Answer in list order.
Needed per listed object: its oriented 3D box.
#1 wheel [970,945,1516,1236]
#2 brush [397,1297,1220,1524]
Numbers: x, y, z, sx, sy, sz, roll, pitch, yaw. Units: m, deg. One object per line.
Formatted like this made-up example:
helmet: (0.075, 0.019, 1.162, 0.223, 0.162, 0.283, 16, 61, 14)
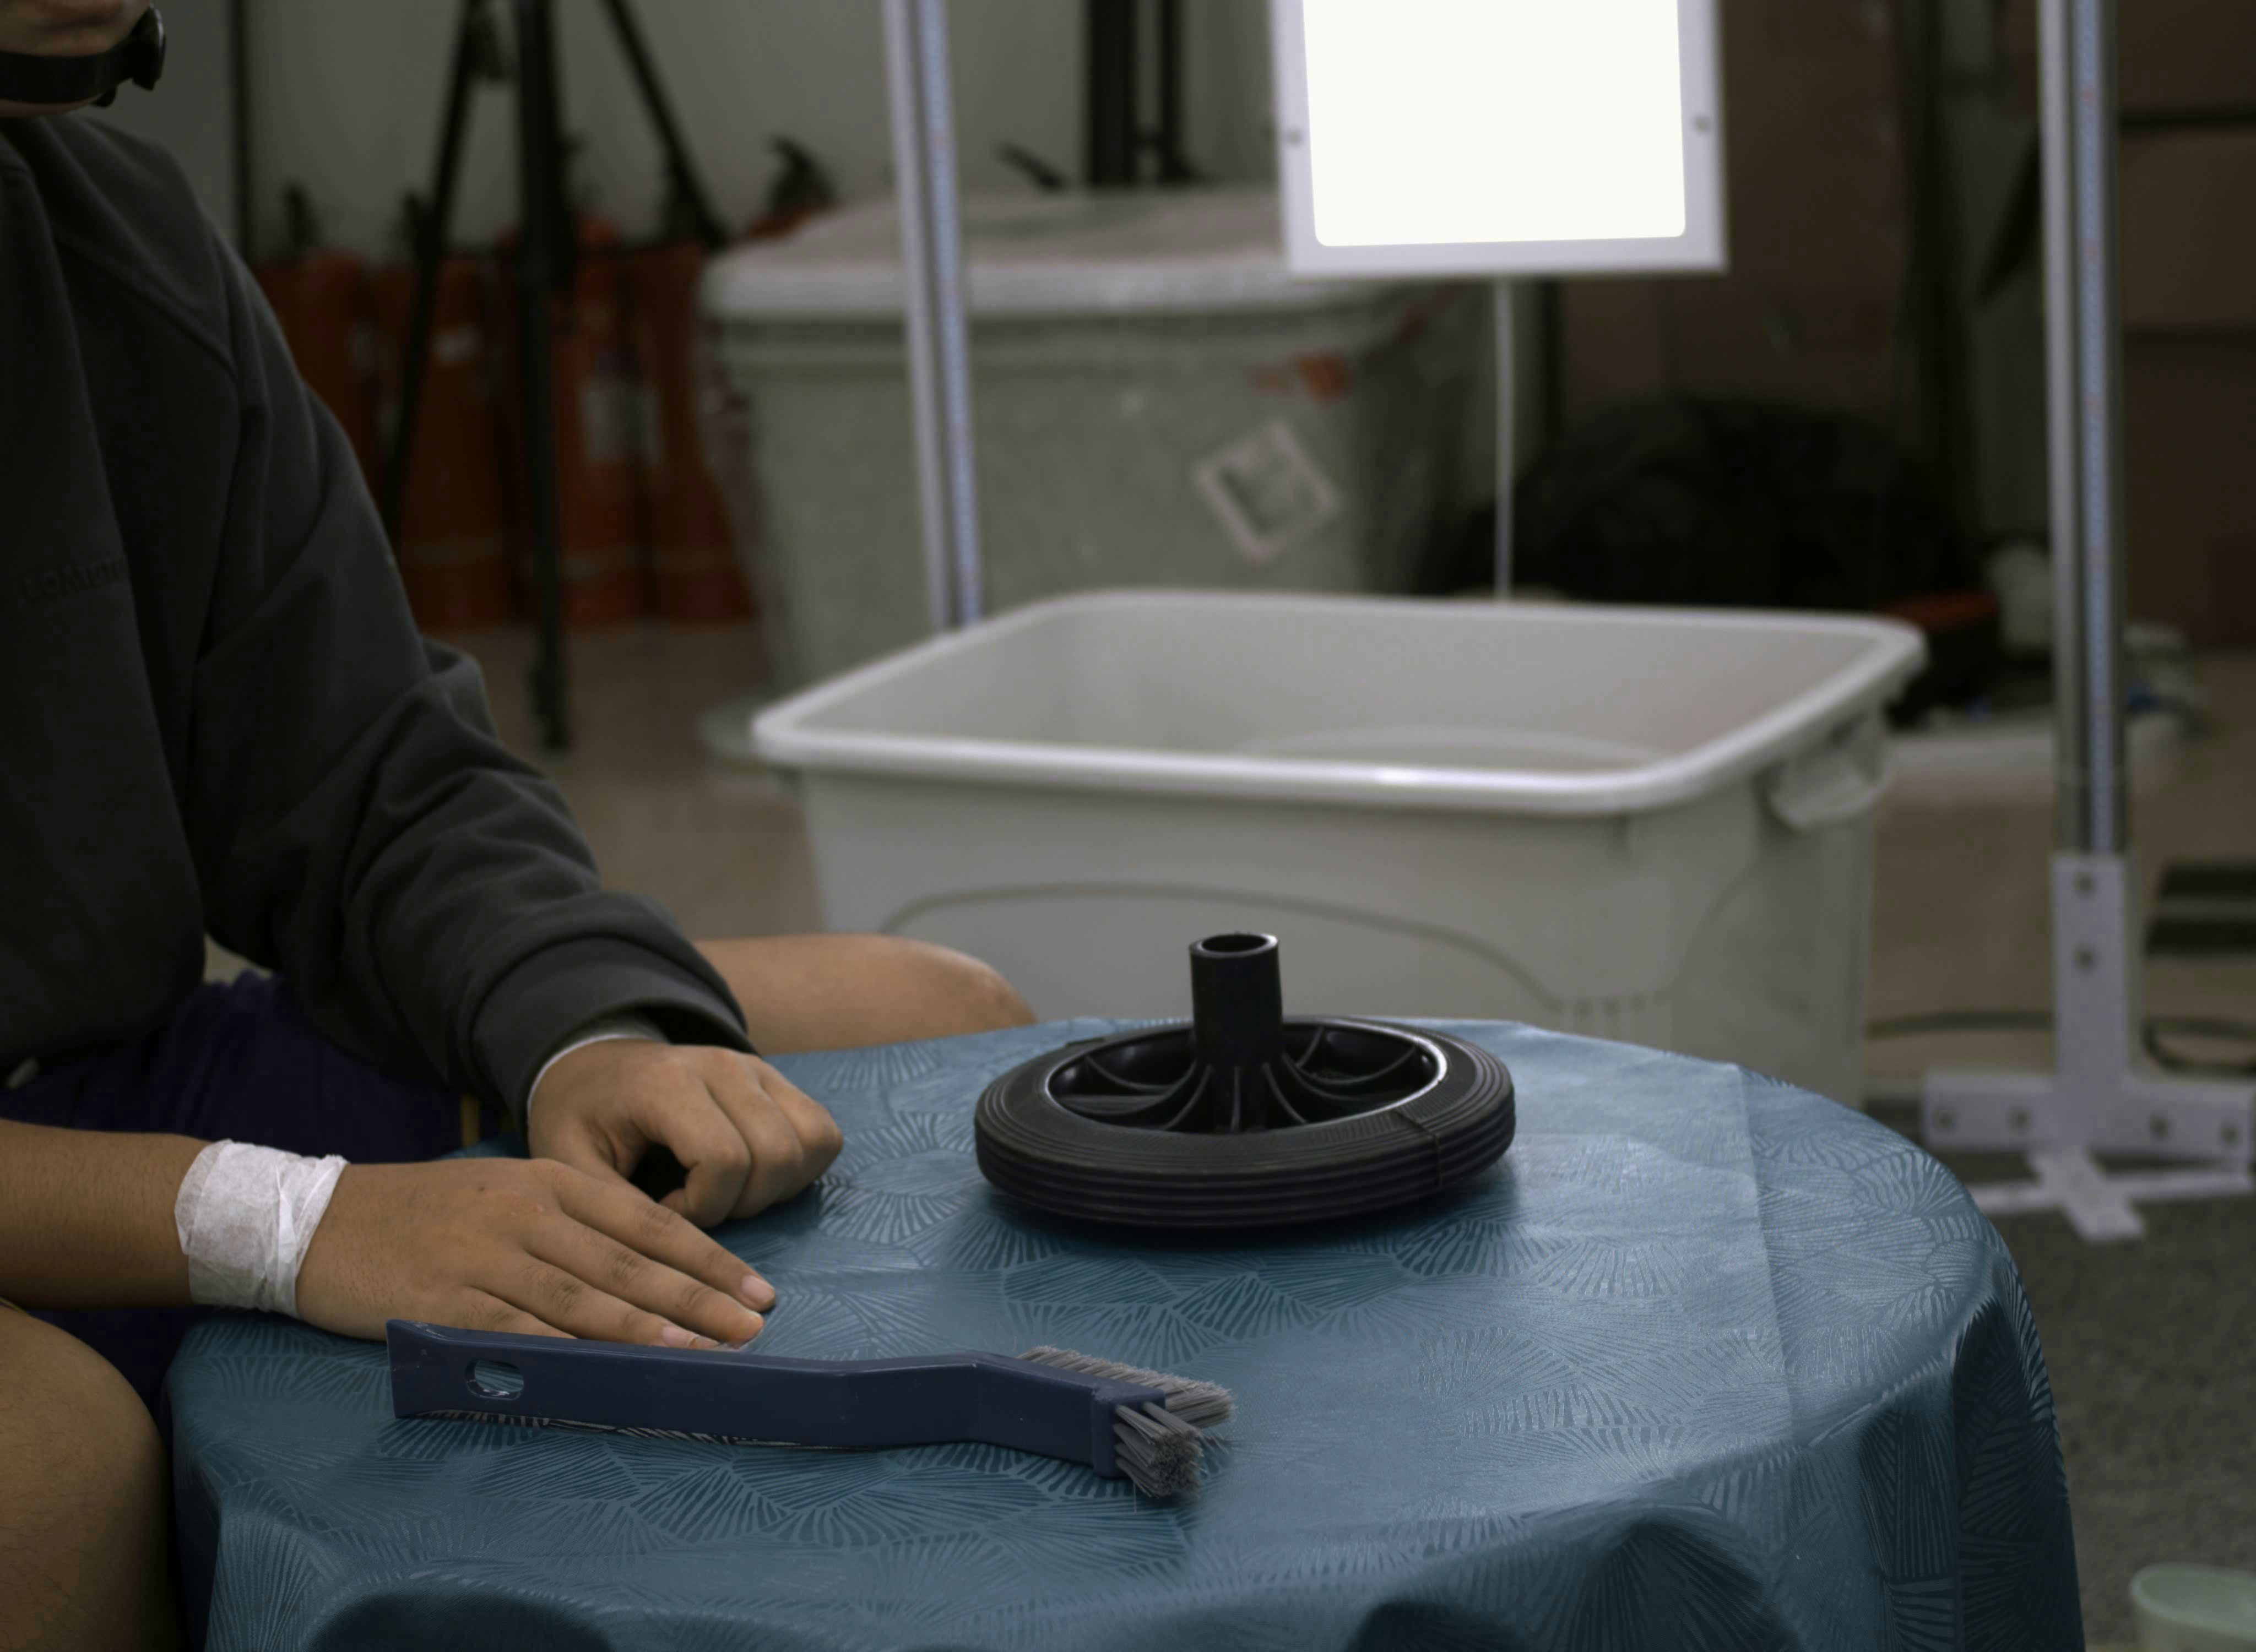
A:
wheel: (0.038, 0.083, 1.899, 0.188, 0.079, 0.188, -7, 14, -4)
brush: (-0.106, 0.175, 1.672, 0.276, 0.033, 0.094, 1, 15, 18)
